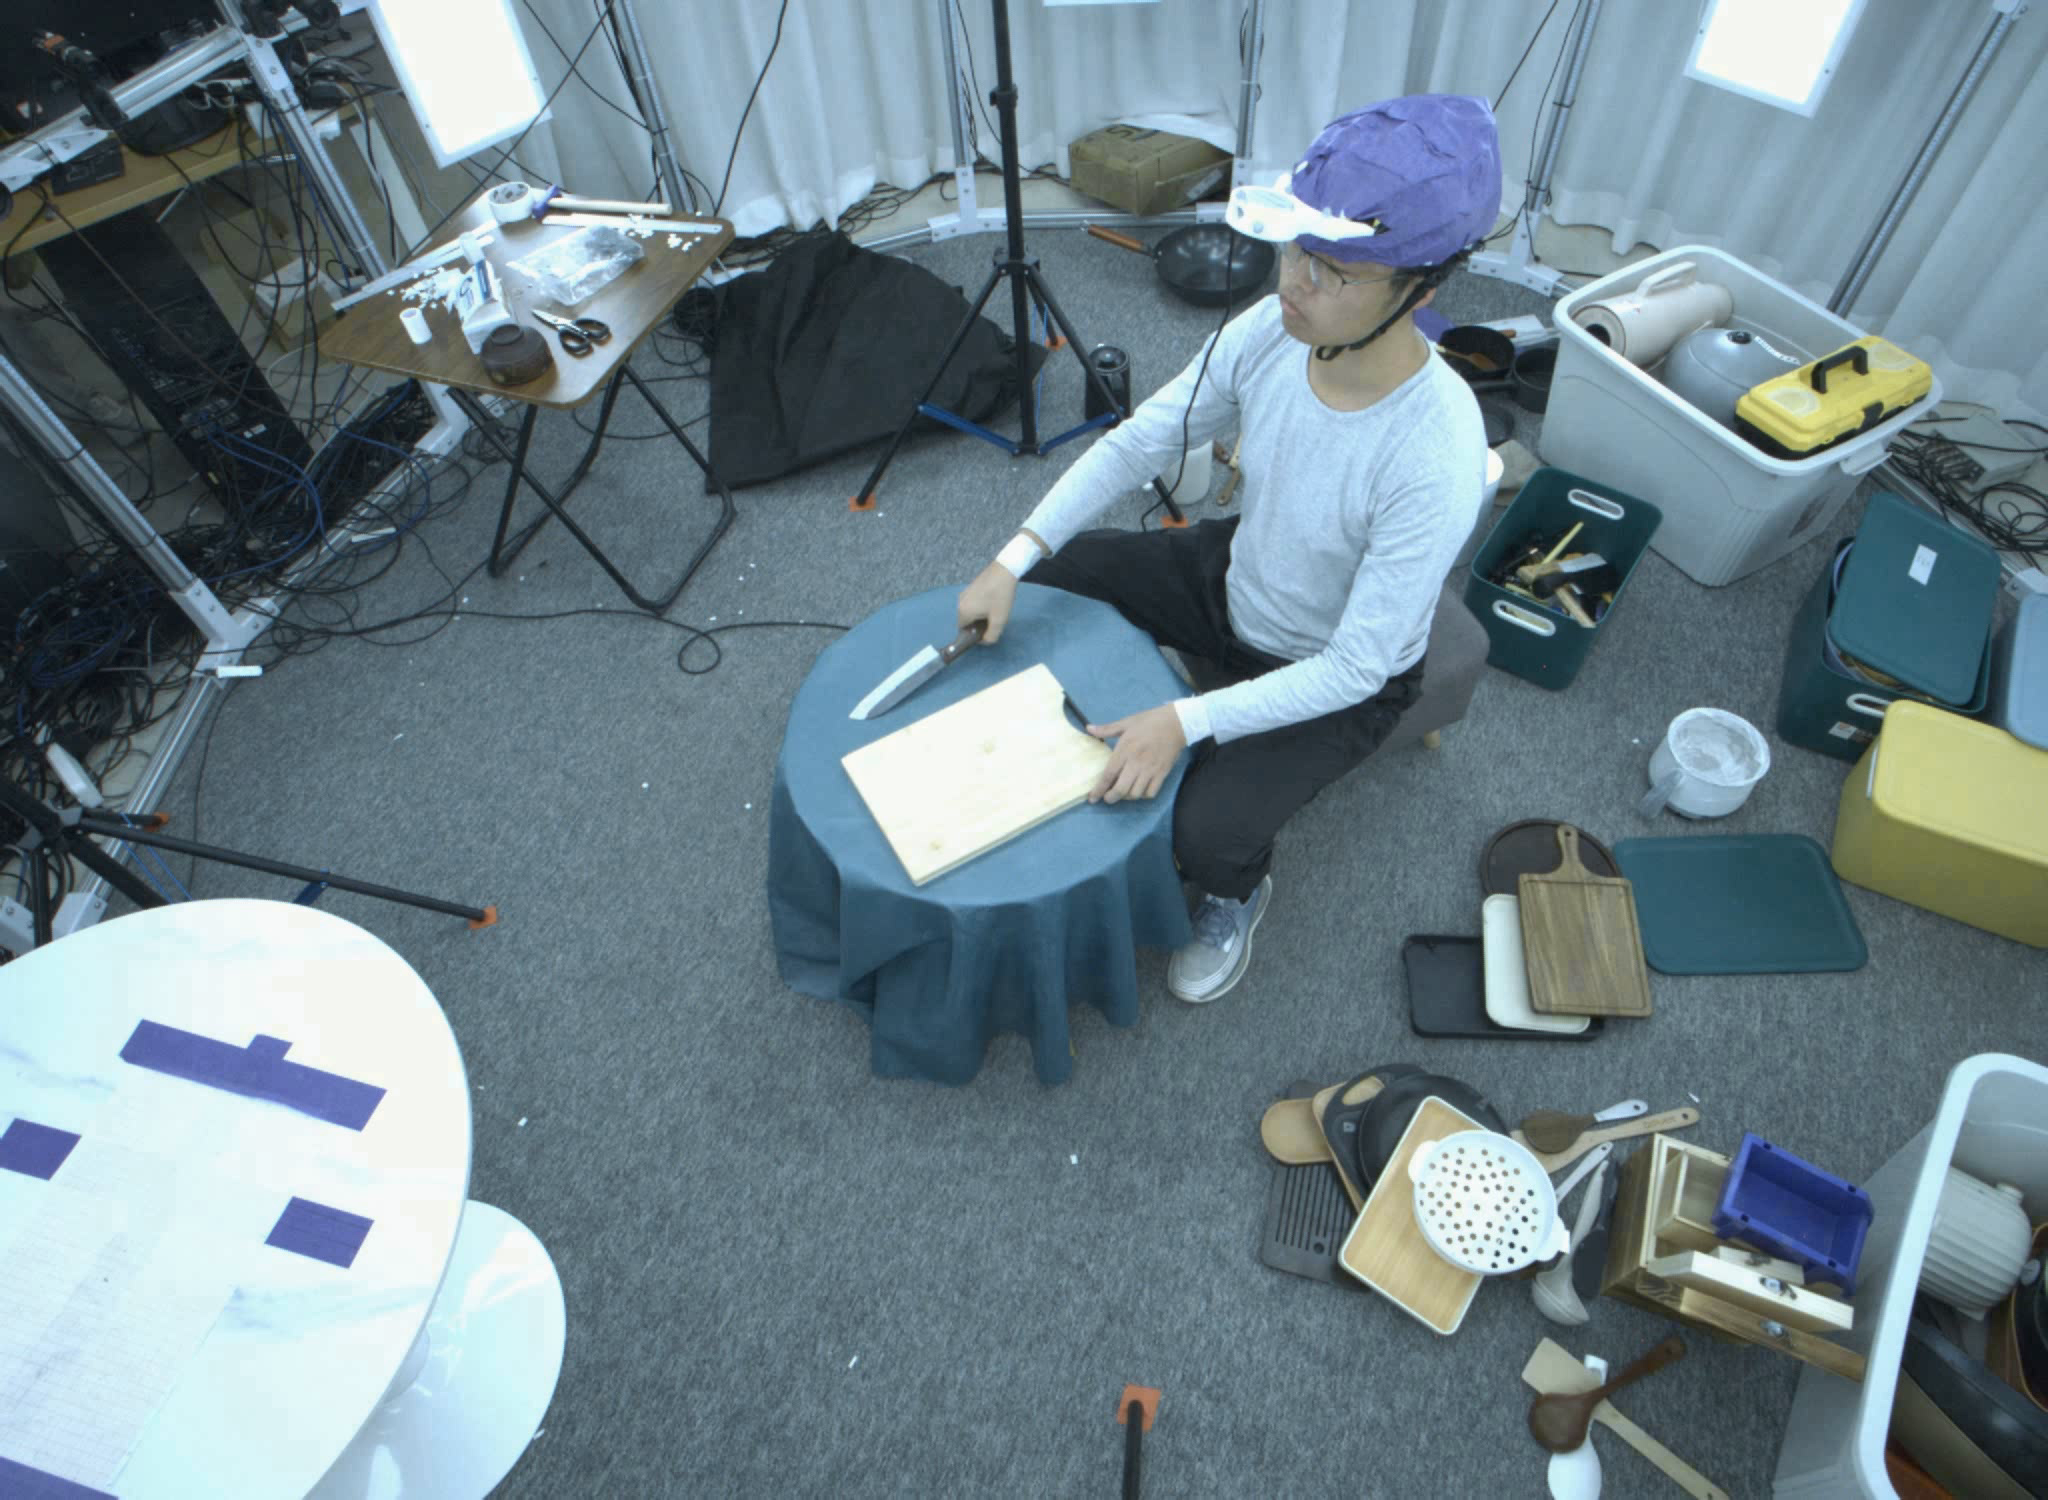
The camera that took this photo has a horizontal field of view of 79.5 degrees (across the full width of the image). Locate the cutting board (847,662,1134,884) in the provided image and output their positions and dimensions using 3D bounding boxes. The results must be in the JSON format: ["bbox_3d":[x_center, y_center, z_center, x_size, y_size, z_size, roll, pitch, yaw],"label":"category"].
[{"bbox_3d":[-0.054,0.024,1.769,0.351,0.024,0.246,-27,58,-17],"label":"cutting board"}]

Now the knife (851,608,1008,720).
[{"bbox_3d":[-0.144,-0.130,1.863,0.290,0.020,0.049,-36,69,-12],"label":"knife"}]
